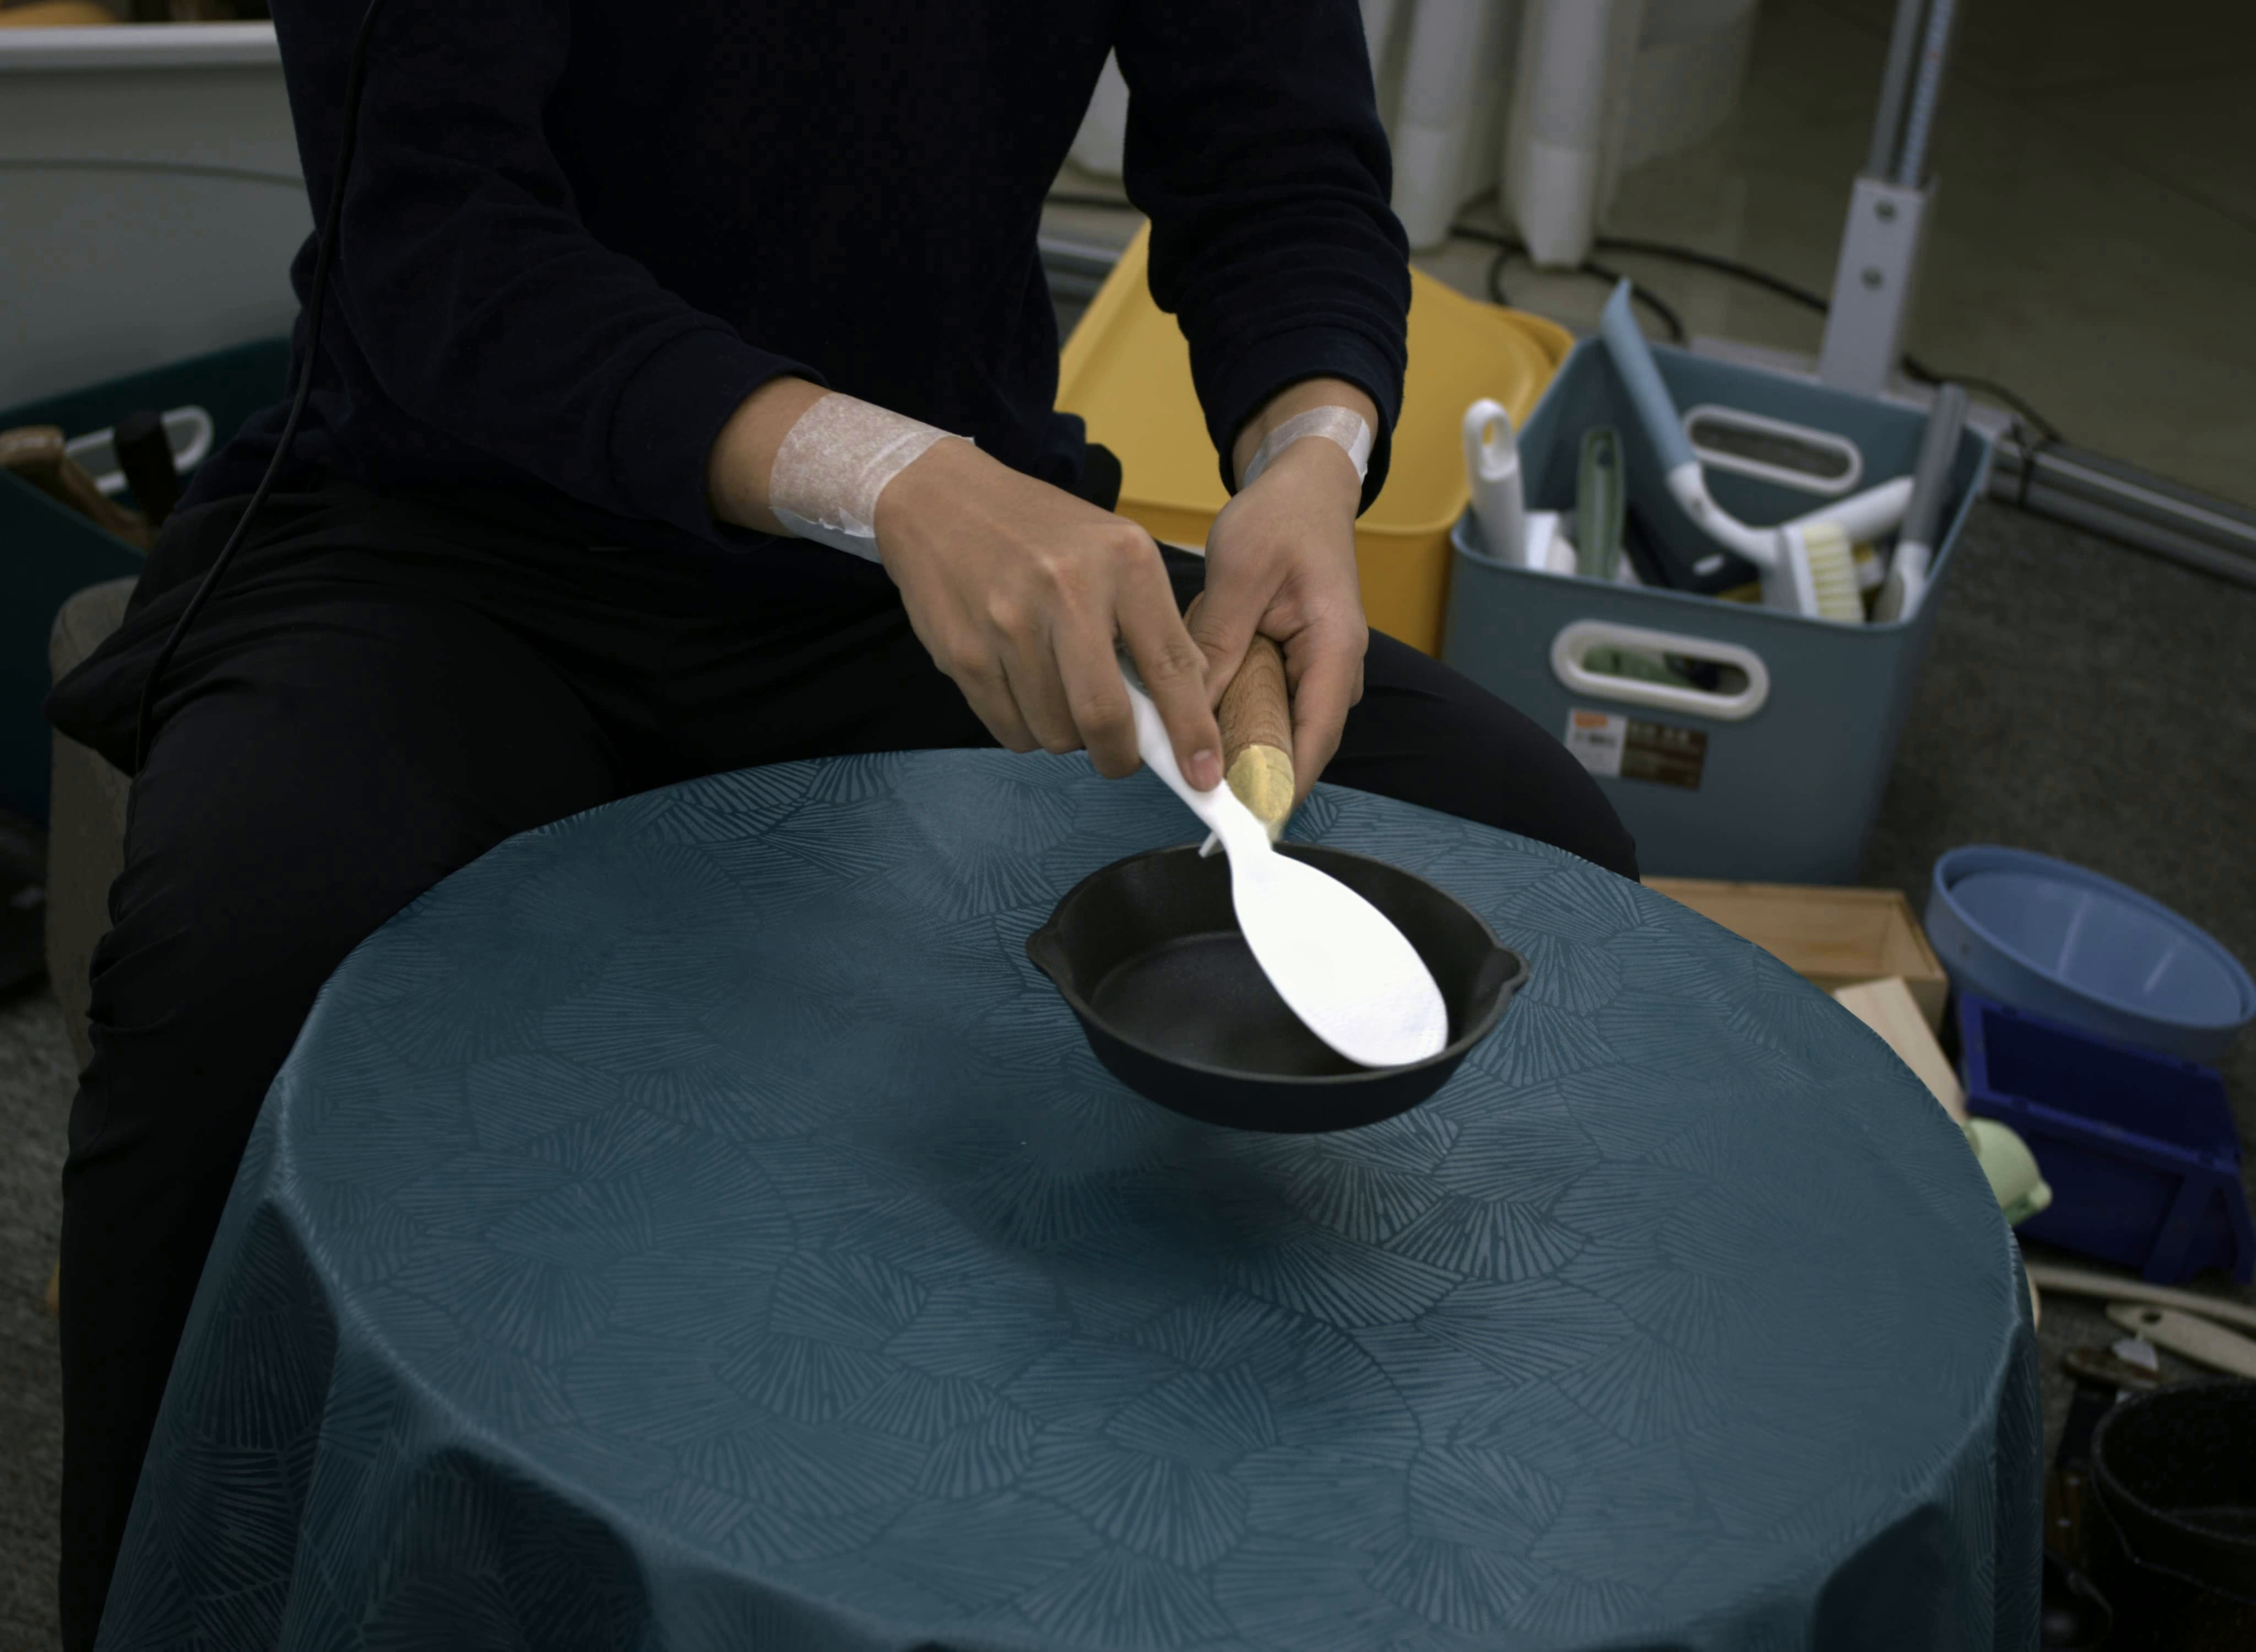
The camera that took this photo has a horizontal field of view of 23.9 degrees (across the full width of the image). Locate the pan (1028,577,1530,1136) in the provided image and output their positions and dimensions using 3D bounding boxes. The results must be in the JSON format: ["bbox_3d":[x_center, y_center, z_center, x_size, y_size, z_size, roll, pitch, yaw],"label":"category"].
[{"bbox_3d":[0.050,0.008,1.854,0.168,0.049,0.326,4,31,-2],"label":"pan"}]

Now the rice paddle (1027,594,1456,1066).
[{"bbox_3d":[0.040,0.004,1.804,0.068,0.029,0.206,-20,63,-45],"label":"rice paddle"}]
